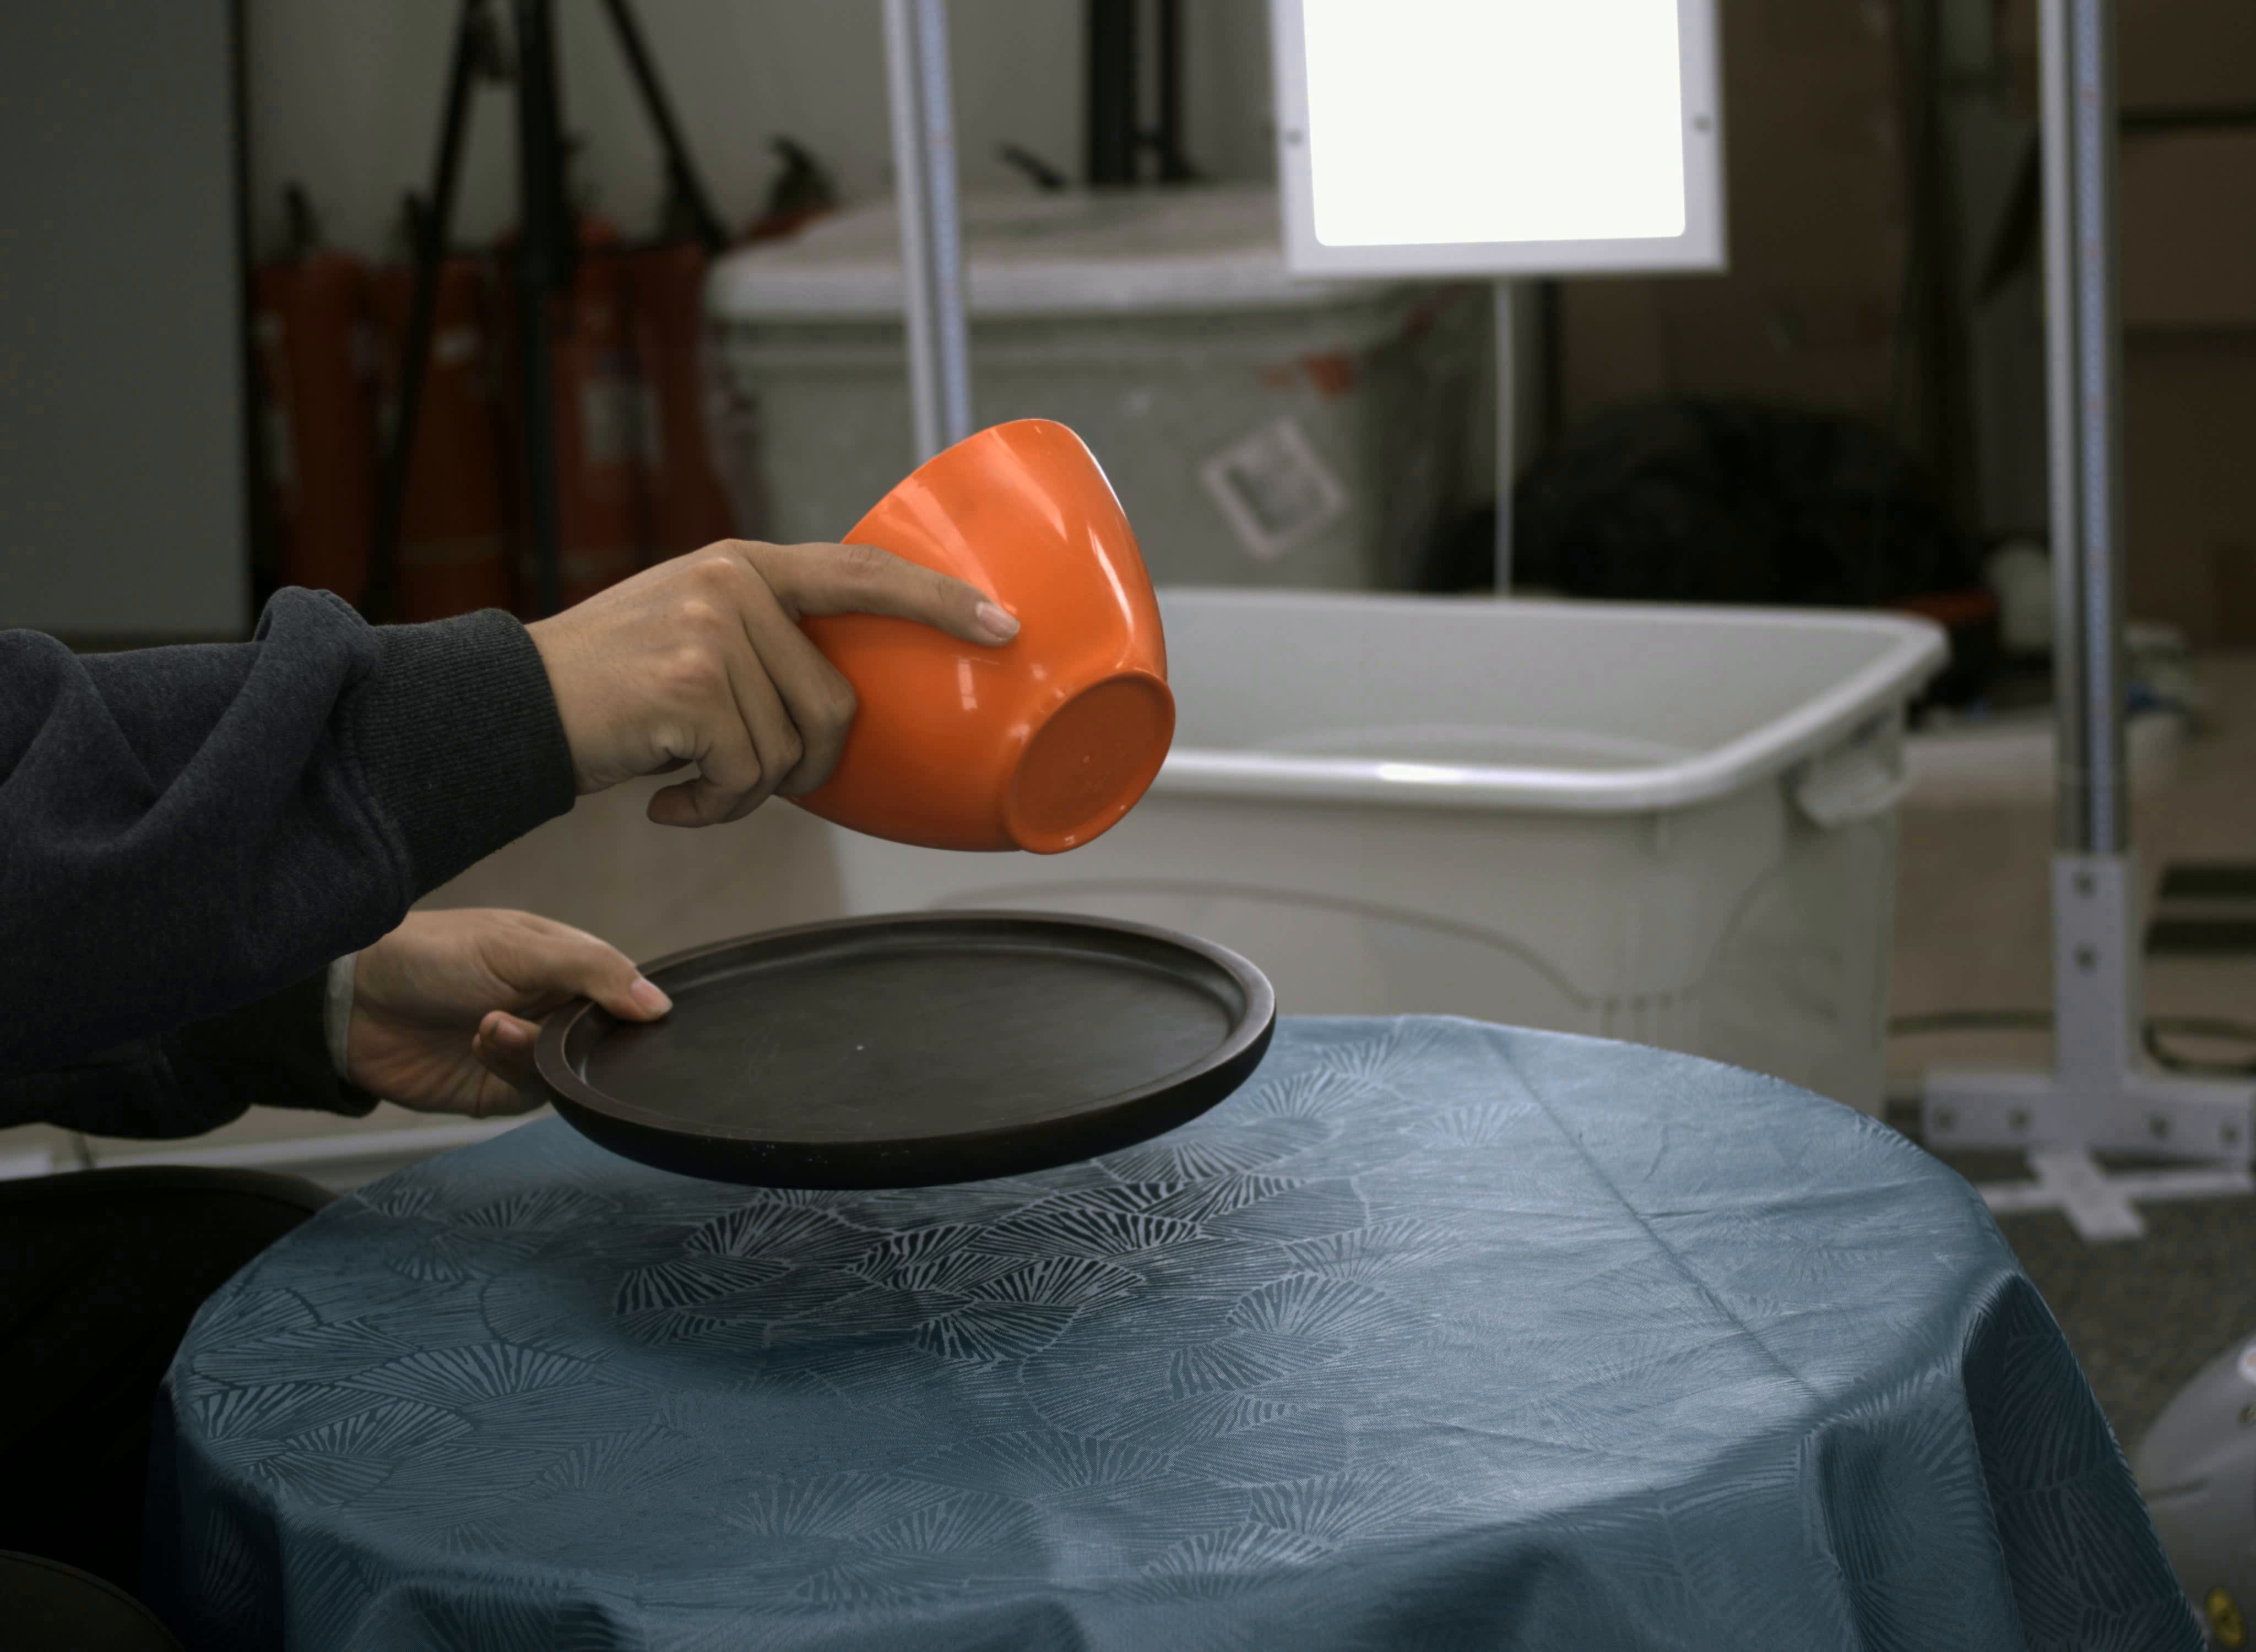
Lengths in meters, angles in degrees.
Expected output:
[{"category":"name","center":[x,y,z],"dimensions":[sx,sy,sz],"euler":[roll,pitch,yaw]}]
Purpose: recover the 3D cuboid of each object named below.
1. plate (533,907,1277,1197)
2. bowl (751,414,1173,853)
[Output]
[{"category":"plate","center":[-0.075,0.075,1.866],"dimensions":[0.254,0.029,0.254],"euler":[-4,17,0]},{"category":"bowl","center":[-0.036,-0.045,1.693],"dimensions":[0.144,0.150,0.106],"euler":[-15,45,-37]}]
